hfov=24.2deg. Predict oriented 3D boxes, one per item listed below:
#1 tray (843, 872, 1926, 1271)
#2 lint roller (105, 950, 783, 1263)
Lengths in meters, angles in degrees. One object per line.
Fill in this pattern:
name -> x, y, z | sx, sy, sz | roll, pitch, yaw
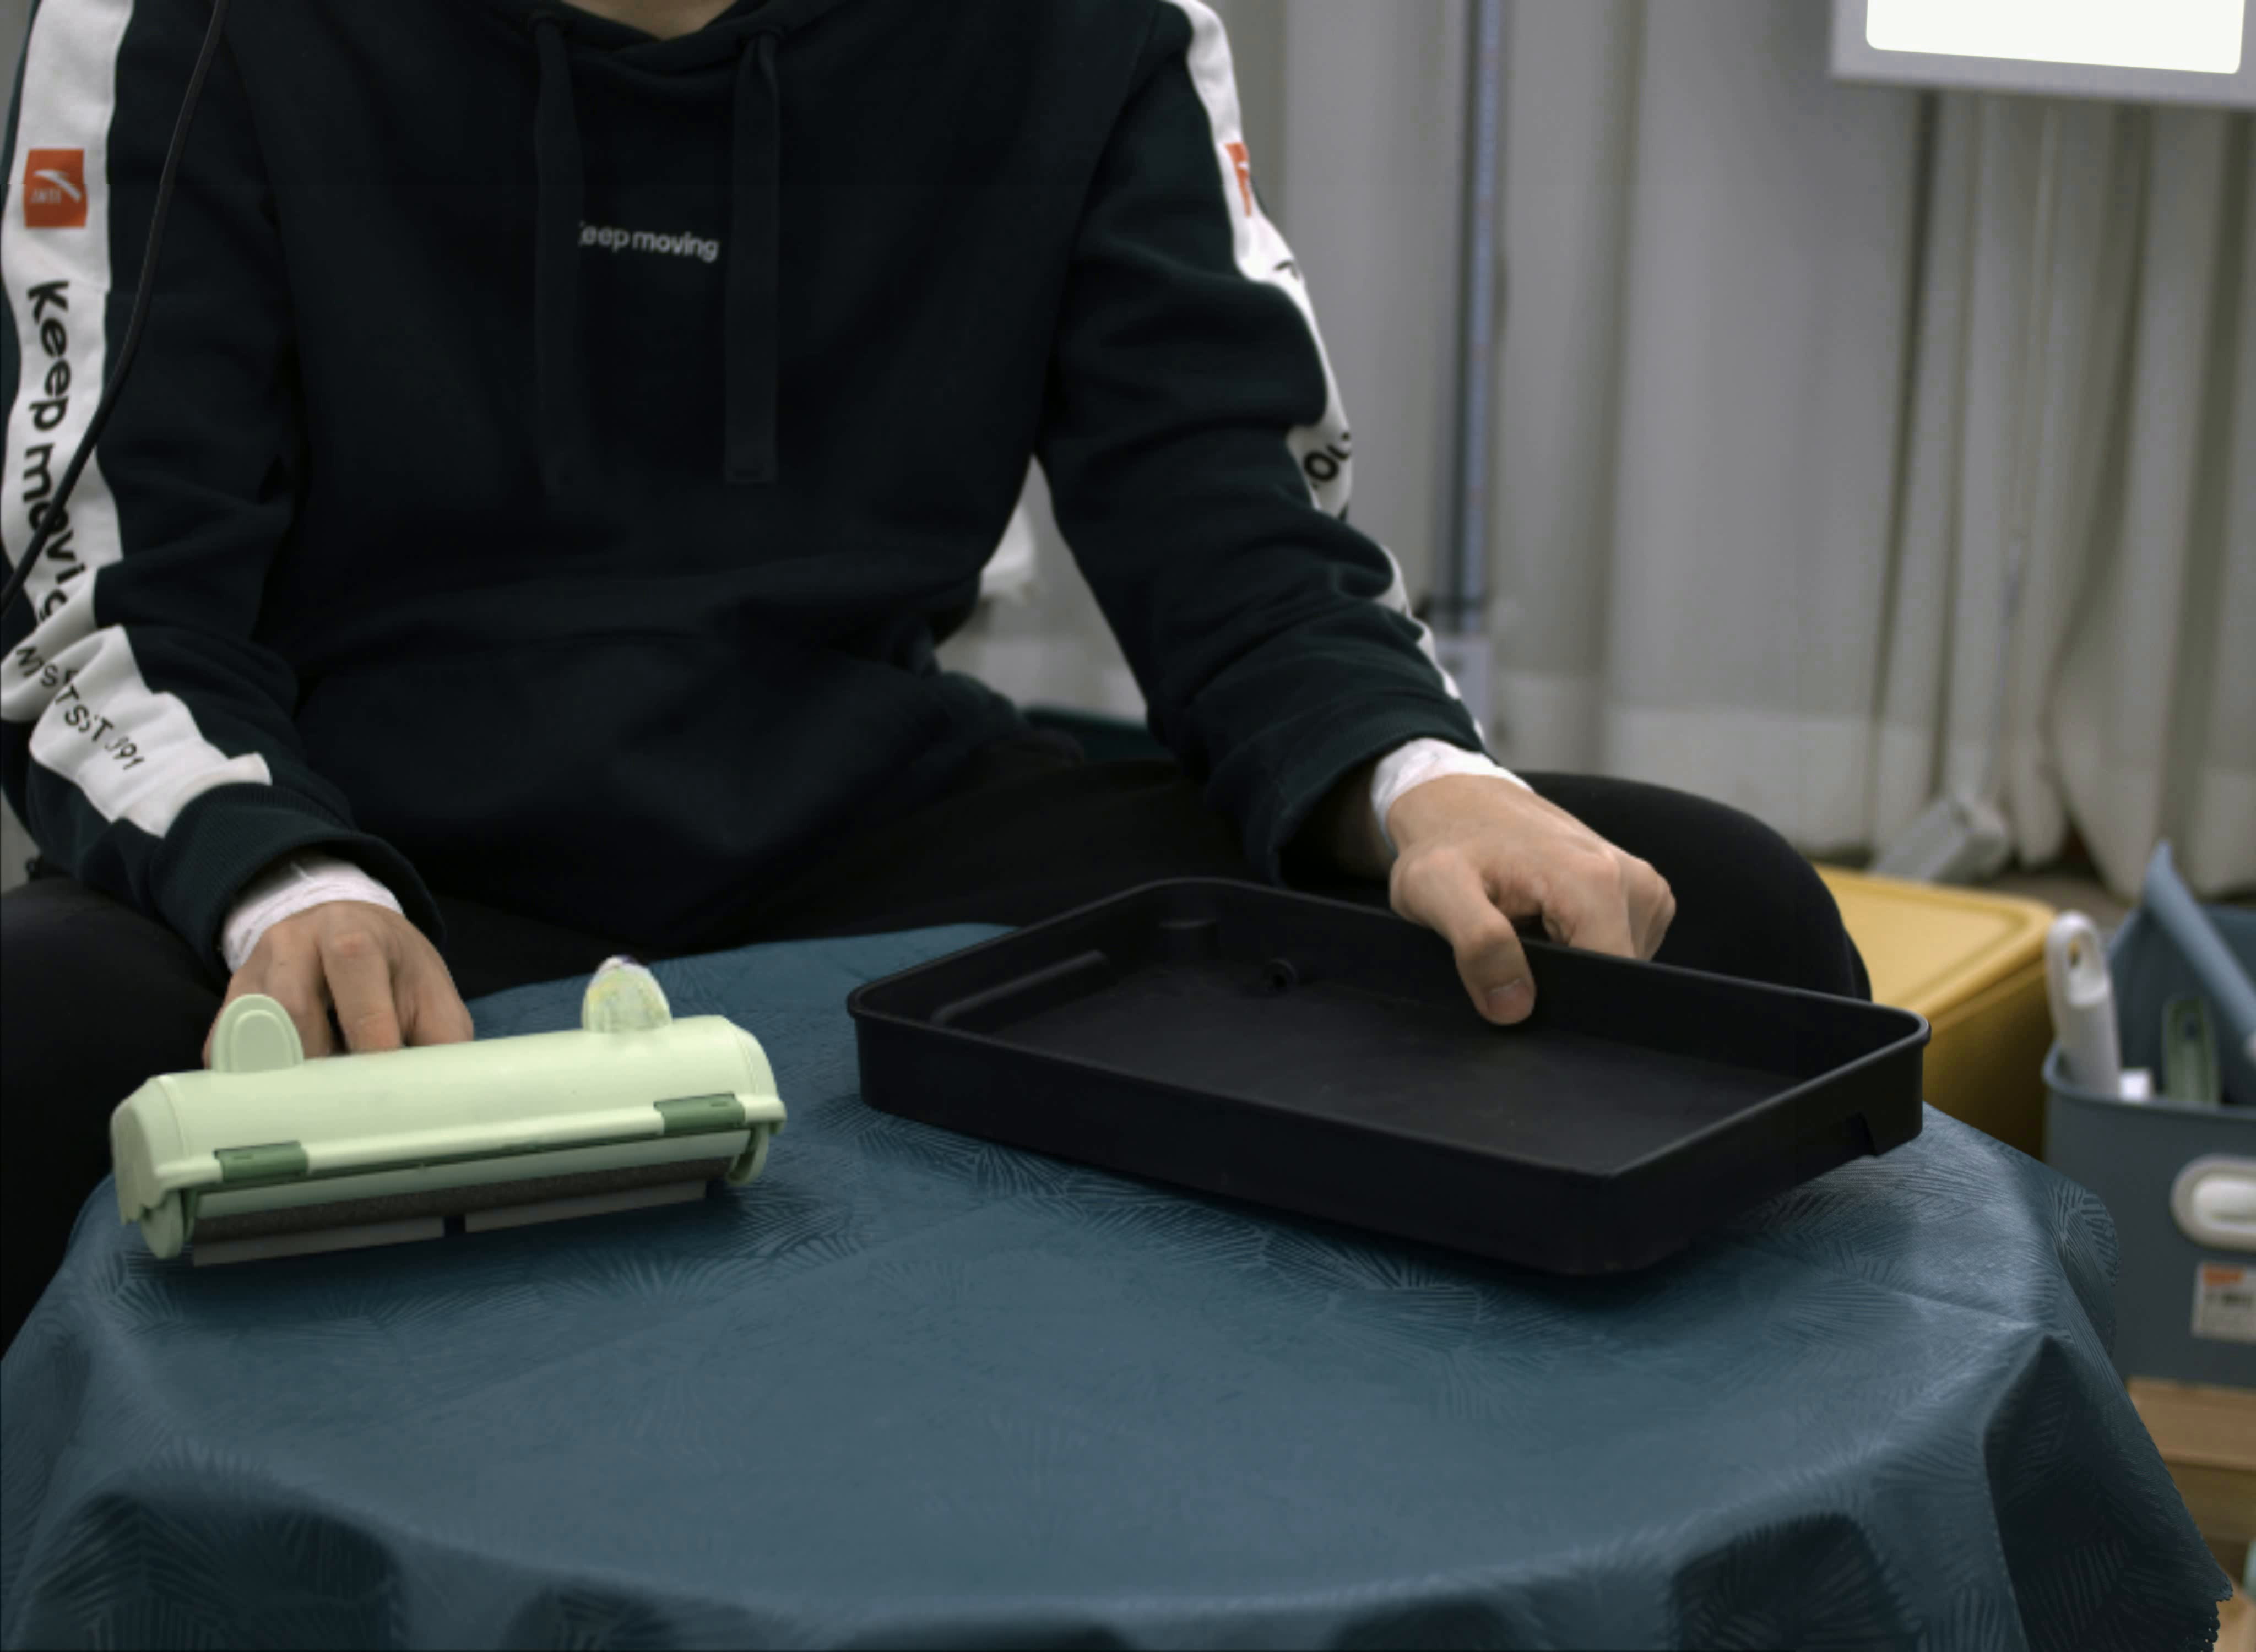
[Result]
tray -> 0.077, 0.073, 1.664 | 0.314, 0.037, 0.185 | 10, 20, 40
lint roller -> -0.226, 0.069, 1.613 | 0.199, 0.083, 0.181 | -6, 19, -25
